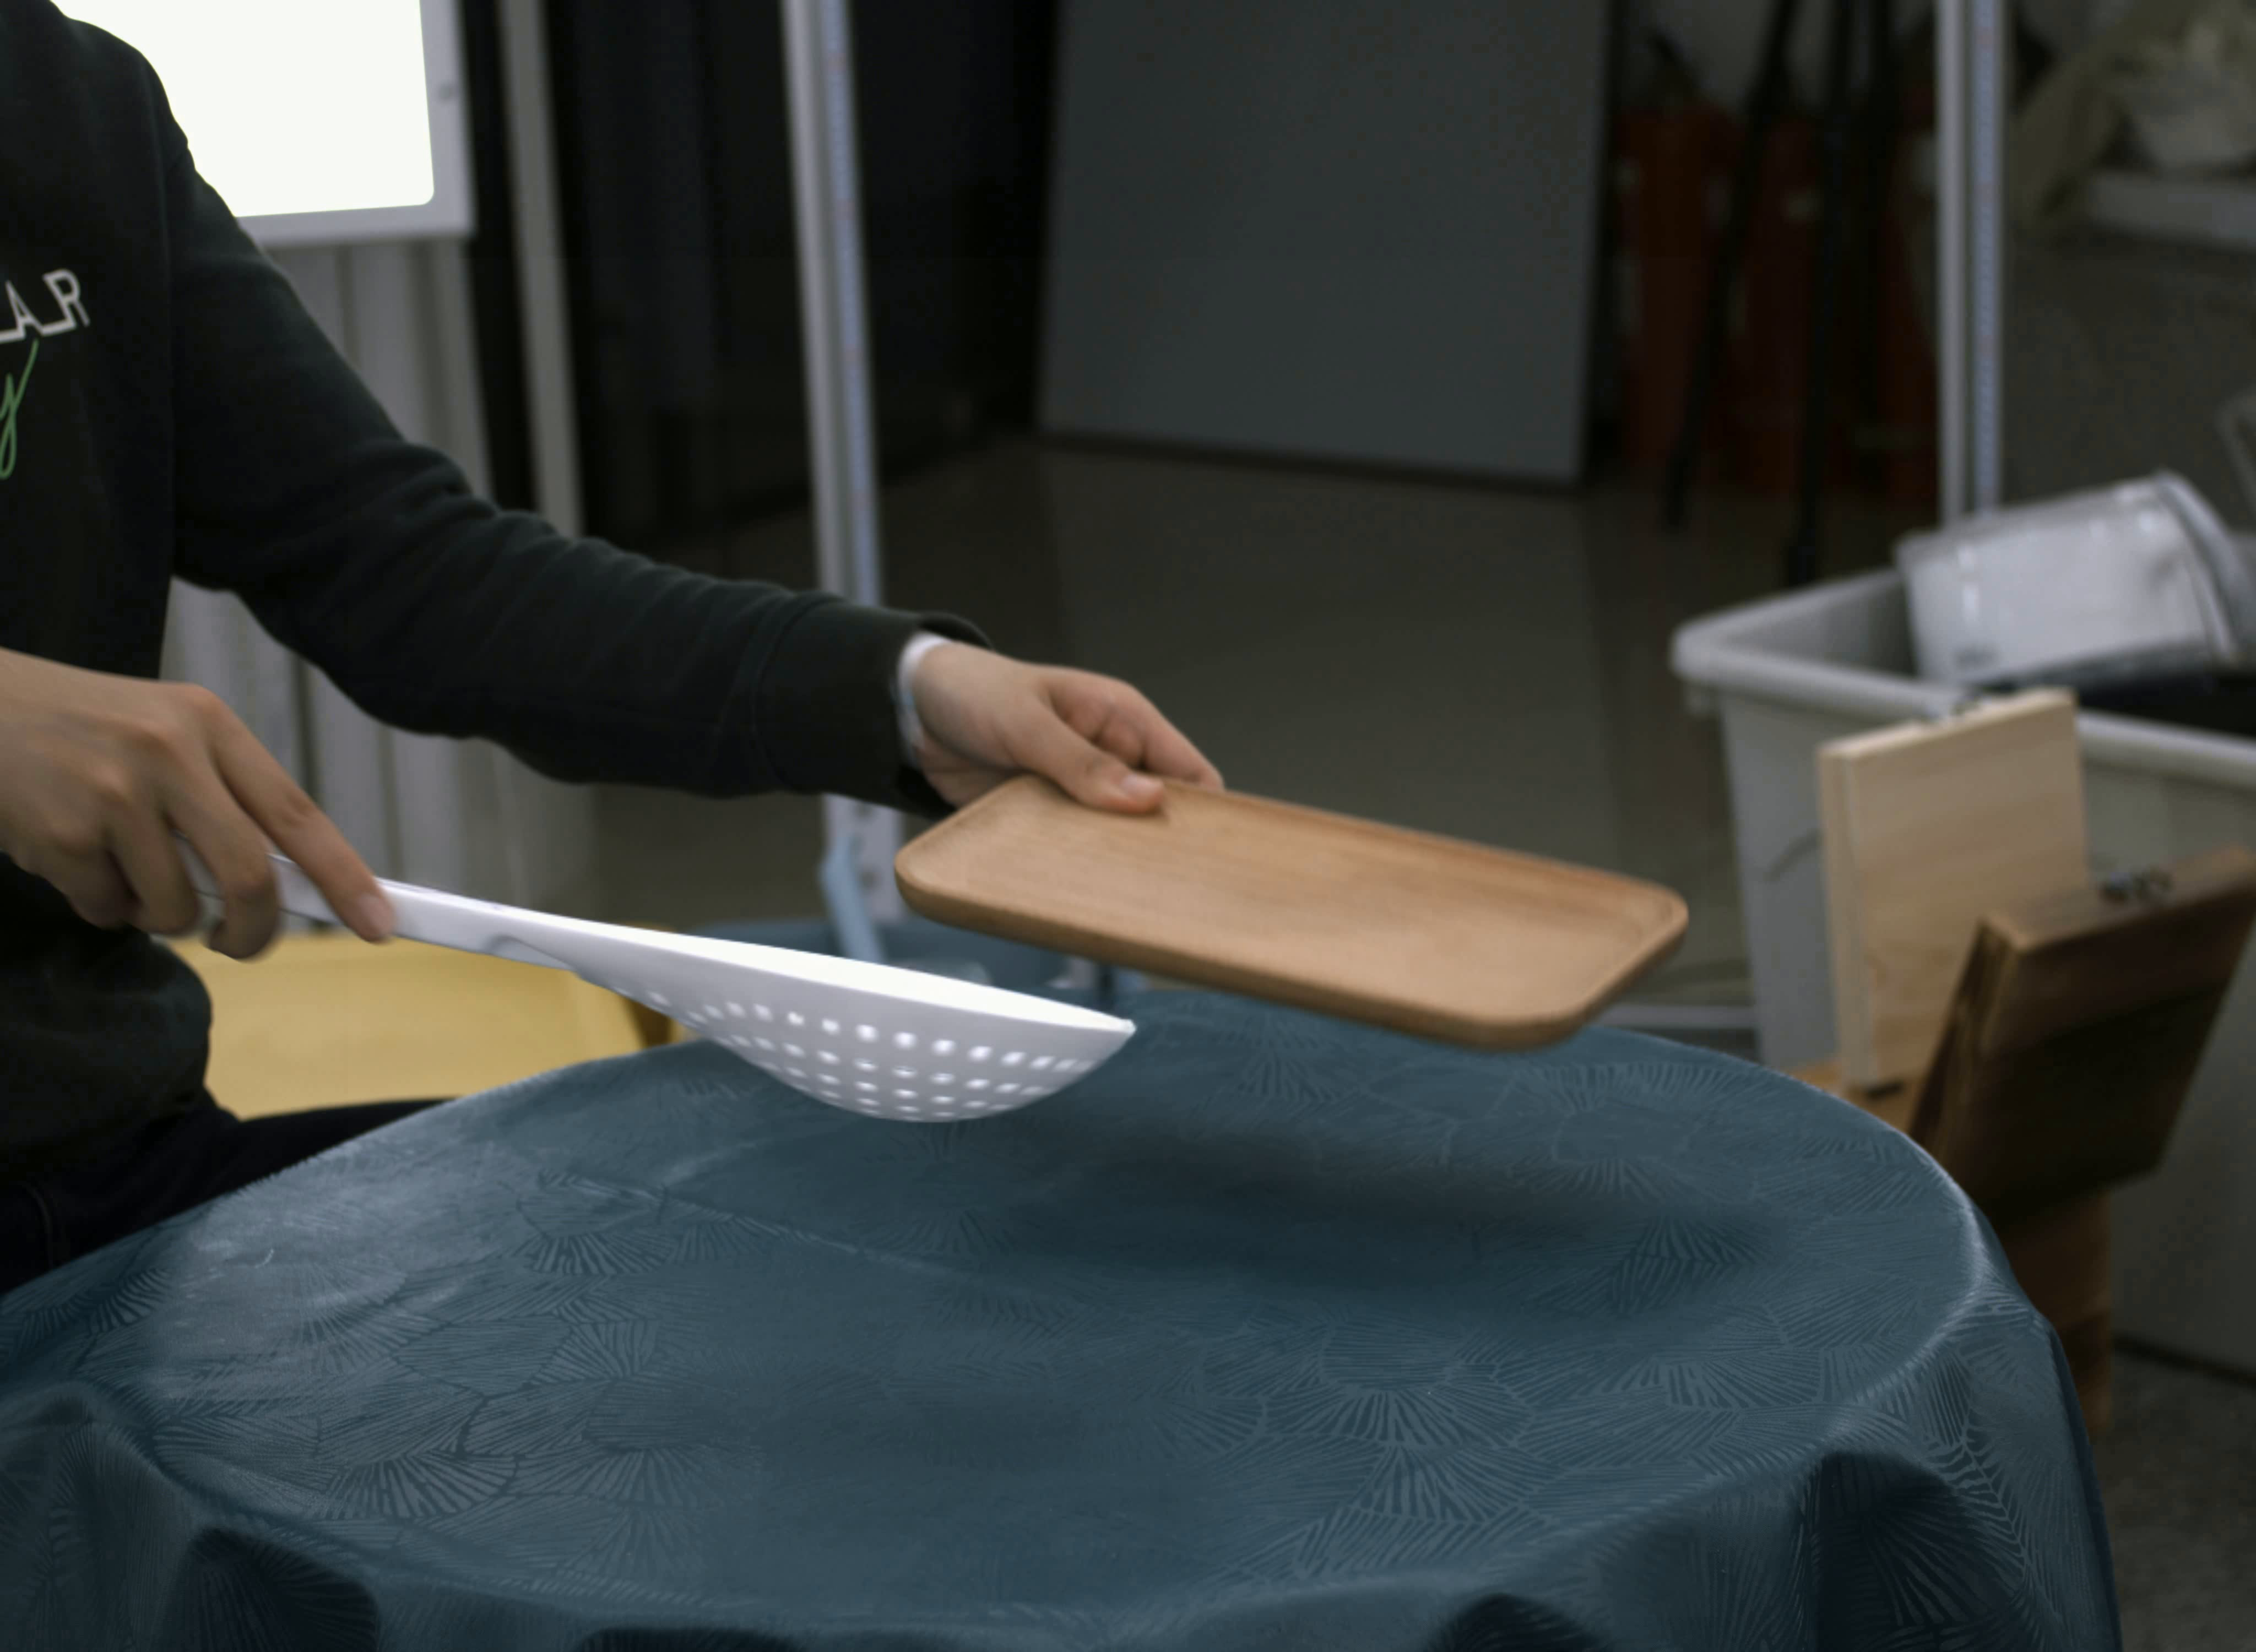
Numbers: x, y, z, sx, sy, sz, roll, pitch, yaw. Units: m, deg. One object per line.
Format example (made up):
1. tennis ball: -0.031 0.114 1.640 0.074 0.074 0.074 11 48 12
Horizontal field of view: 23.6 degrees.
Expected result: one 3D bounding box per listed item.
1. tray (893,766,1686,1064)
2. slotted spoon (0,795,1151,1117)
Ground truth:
1. tray: 0.051 0.027 1.744 0.252 0.023 0.128 12 23 30
2. slotted spoon: -0.165 0.030 1.557 0.347 0.046 0.135 15 0 8
